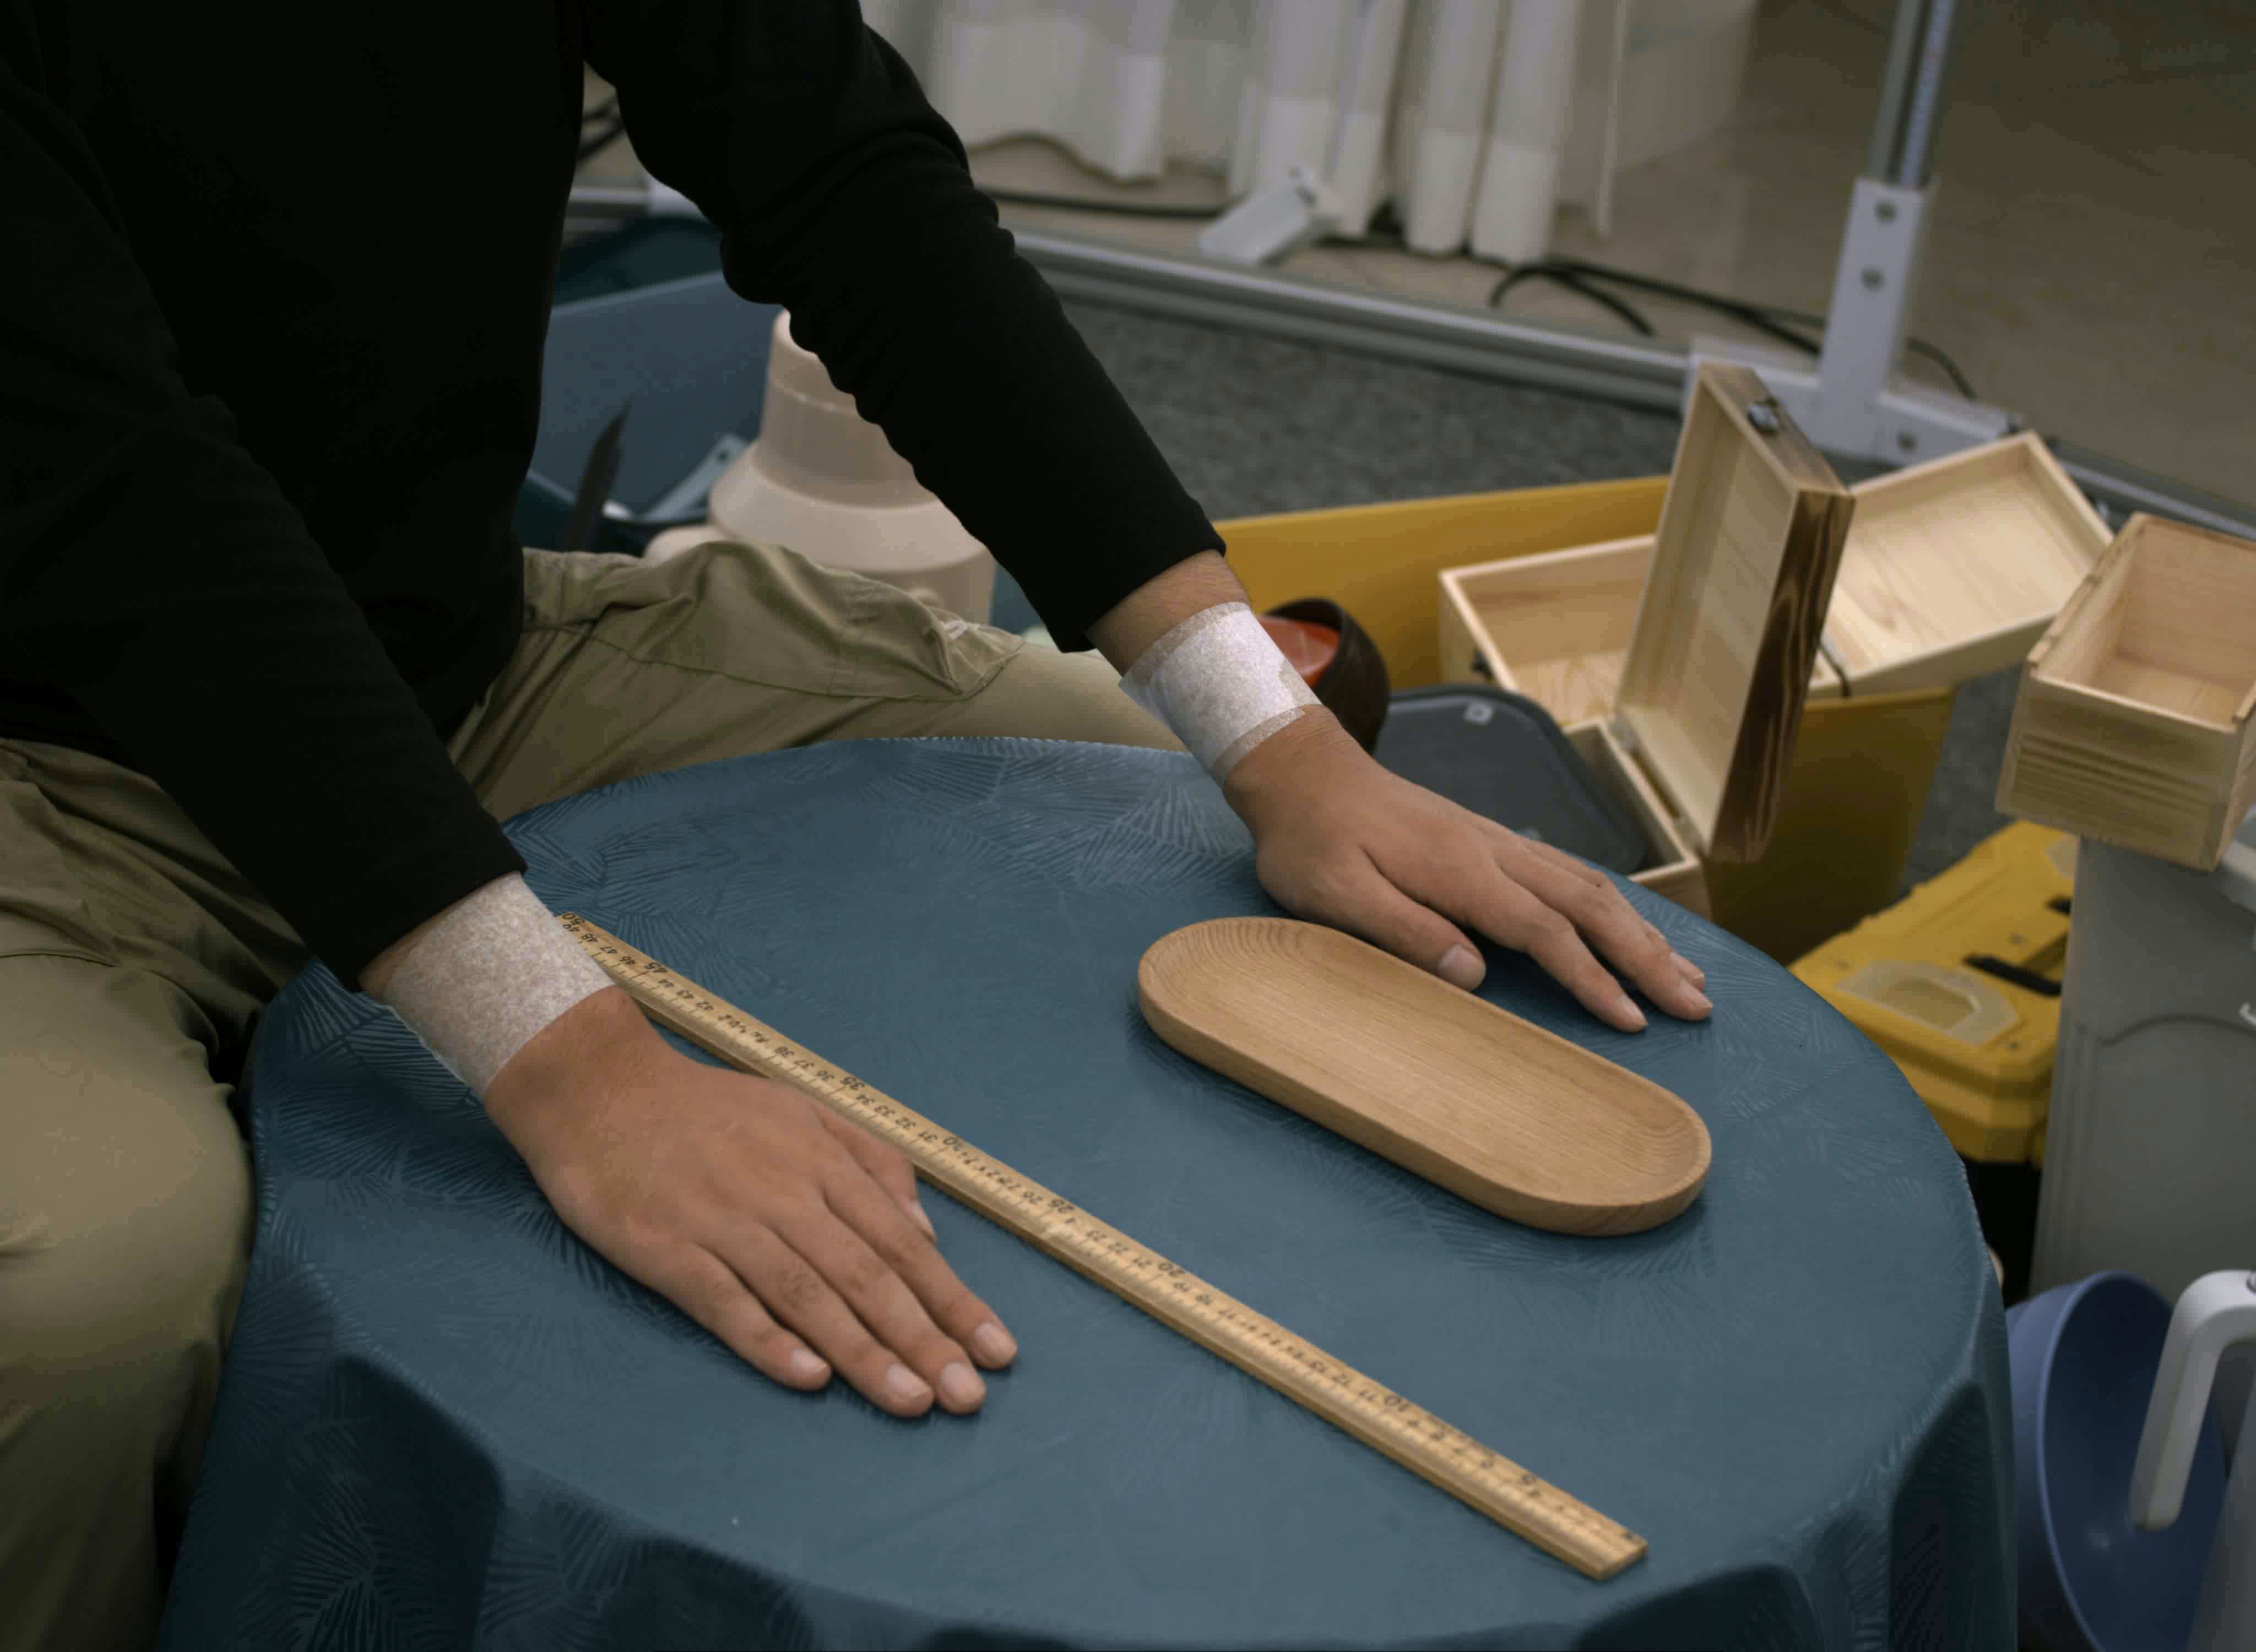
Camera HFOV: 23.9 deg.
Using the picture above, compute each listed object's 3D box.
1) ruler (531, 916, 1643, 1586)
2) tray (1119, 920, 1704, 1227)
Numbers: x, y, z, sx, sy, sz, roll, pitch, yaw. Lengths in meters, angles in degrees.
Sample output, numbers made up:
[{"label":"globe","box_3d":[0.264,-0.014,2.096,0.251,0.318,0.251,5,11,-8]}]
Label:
[{"label":"ruler","box_3d":[-0.028,0.132,1.775,0.504,0.006,0.026,28,32,36]},{"label":"tray","box_3d":[0.098,0.086,1.879,0.232,0.020,0.101,23,29,32]}]
